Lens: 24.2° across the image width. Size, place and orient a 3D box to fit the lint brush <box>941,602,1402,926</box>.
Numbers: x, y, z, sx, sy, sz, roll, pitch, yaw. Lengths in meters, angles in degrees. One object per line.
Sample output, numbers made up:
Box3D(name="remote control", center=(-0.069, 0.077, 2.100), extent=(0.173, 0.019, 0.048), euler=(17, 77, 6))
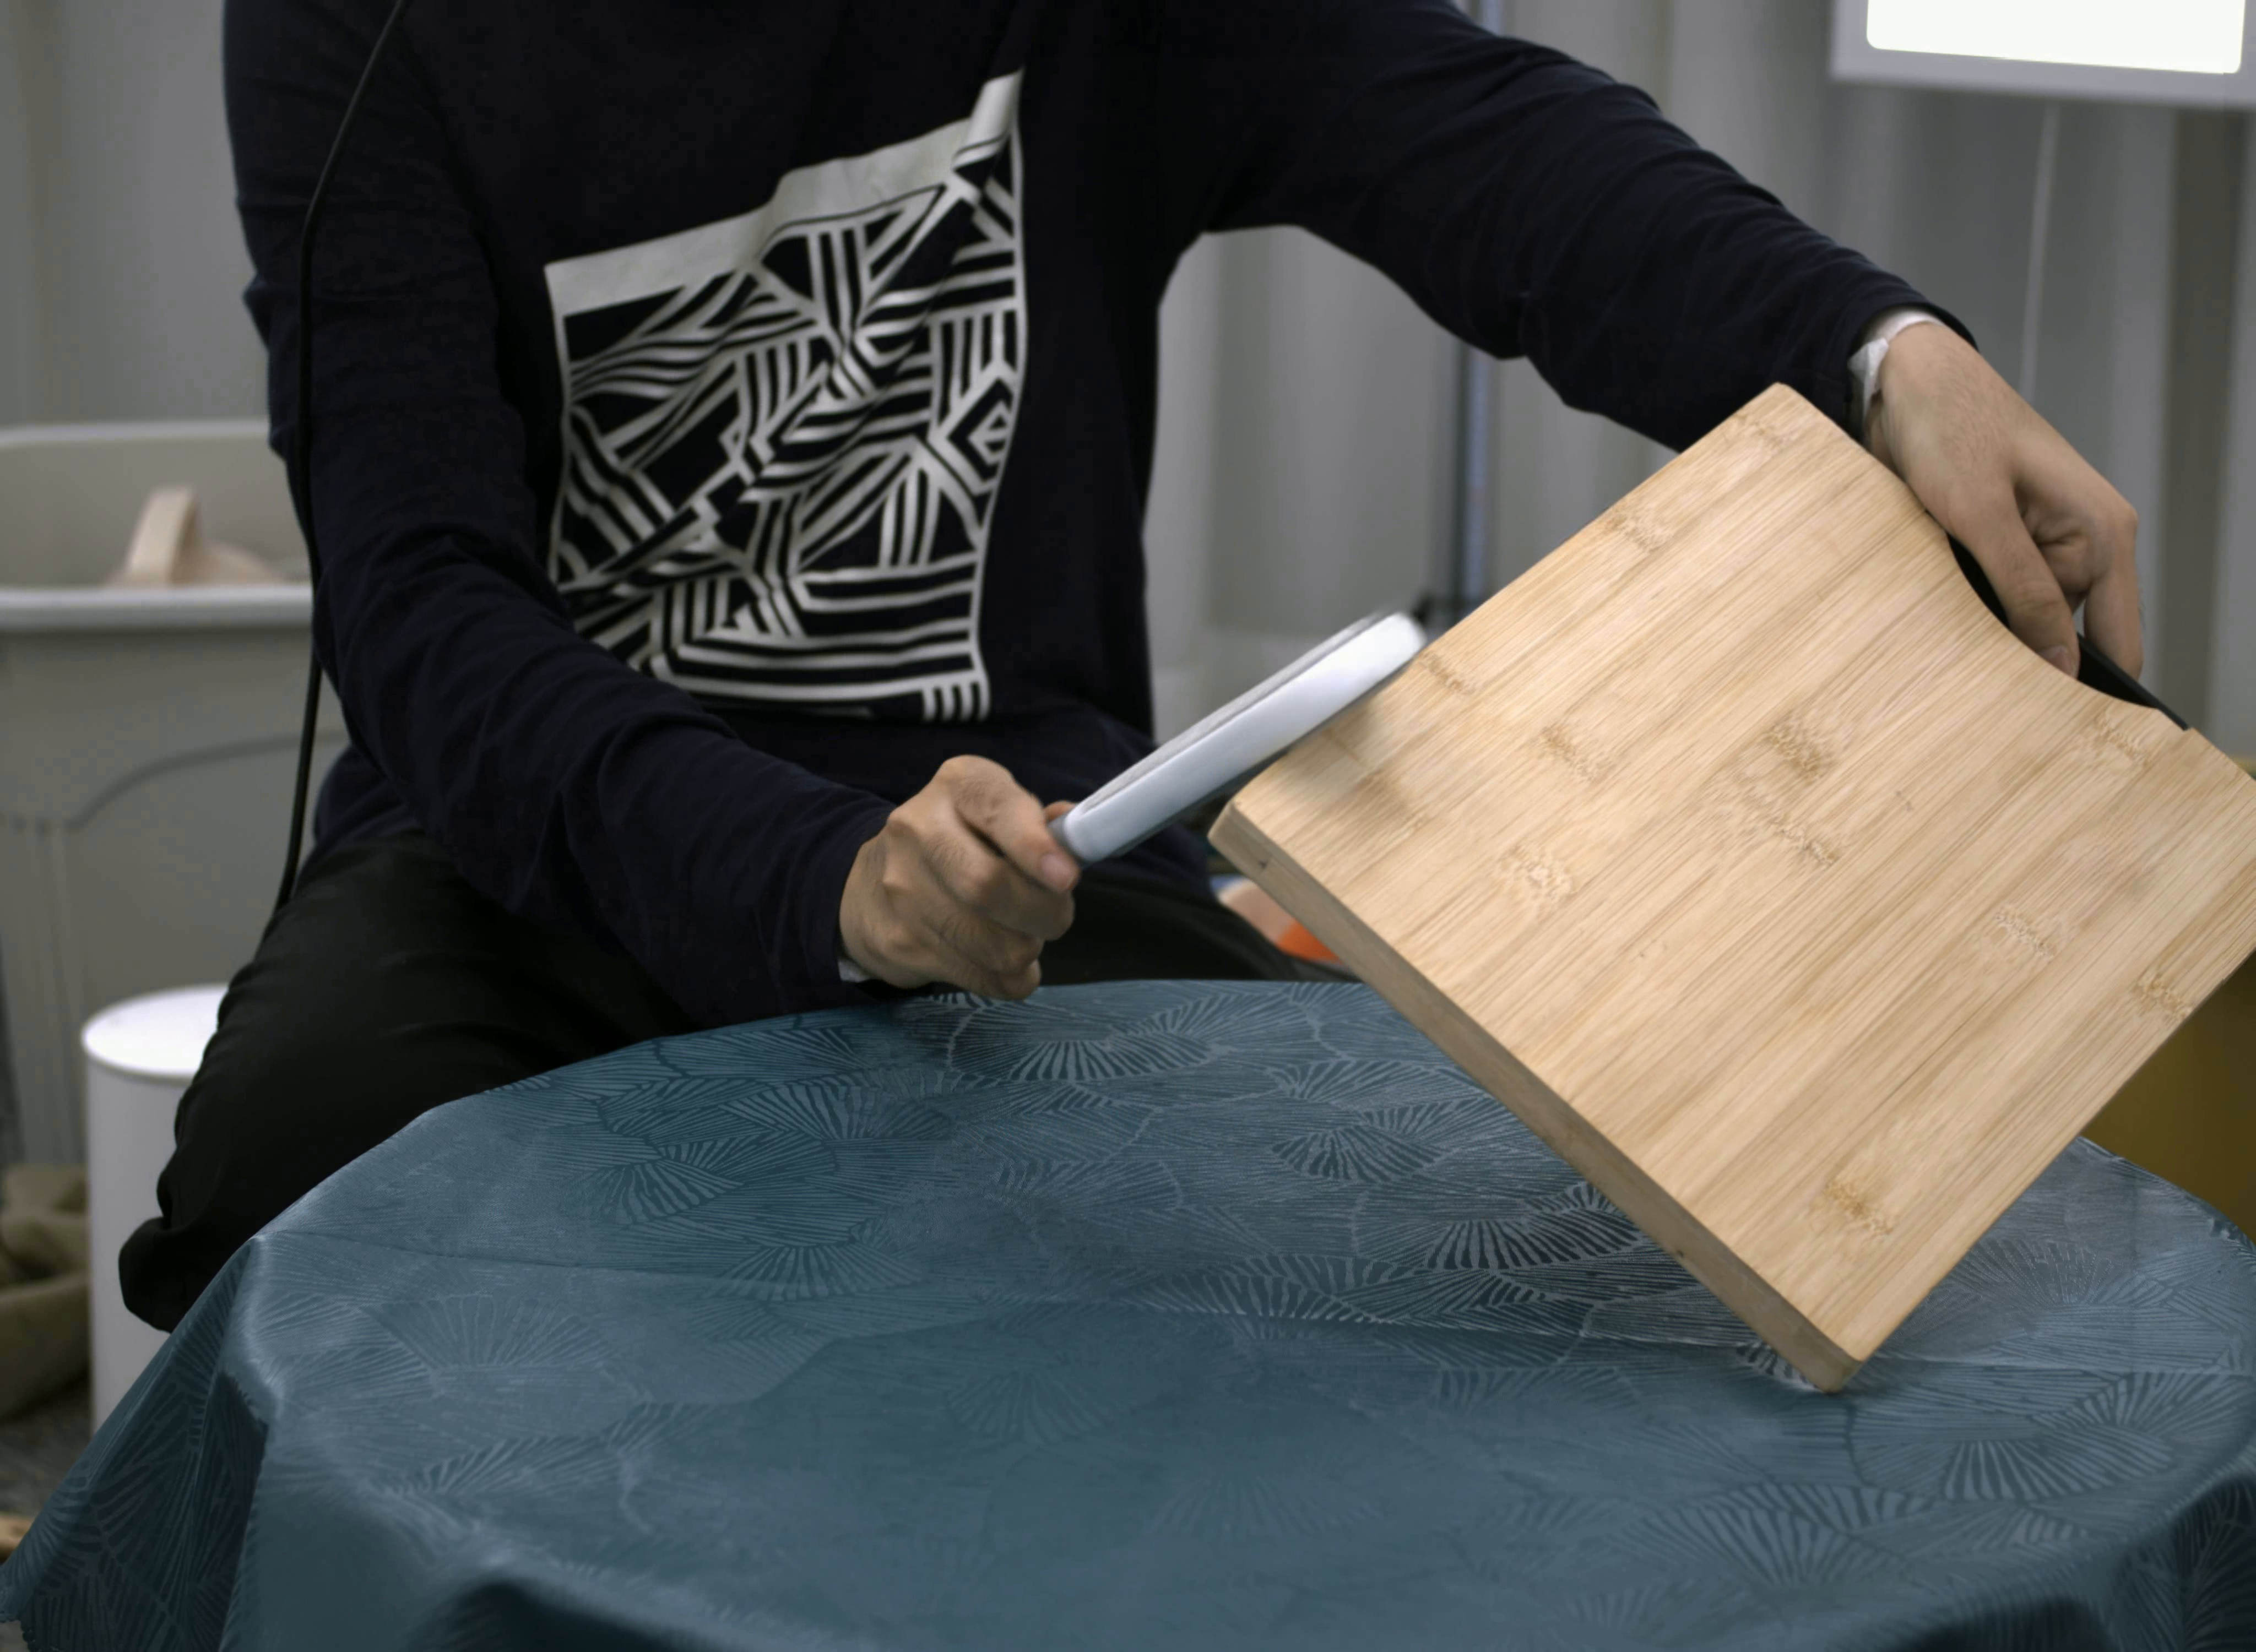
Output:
Box3D(name="lint brush", center=(0.006, -0.013, 1.628), extent=(0.060, 0.021, 0.308), euler=(-41, 4, -27))

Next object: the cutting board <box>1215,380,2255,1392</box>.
Box3D(name="cutting board", center=(0.208, 0.005, 1.607), extent=(0.249, 0.023, 0.349), euler=(42, 43, 9))
